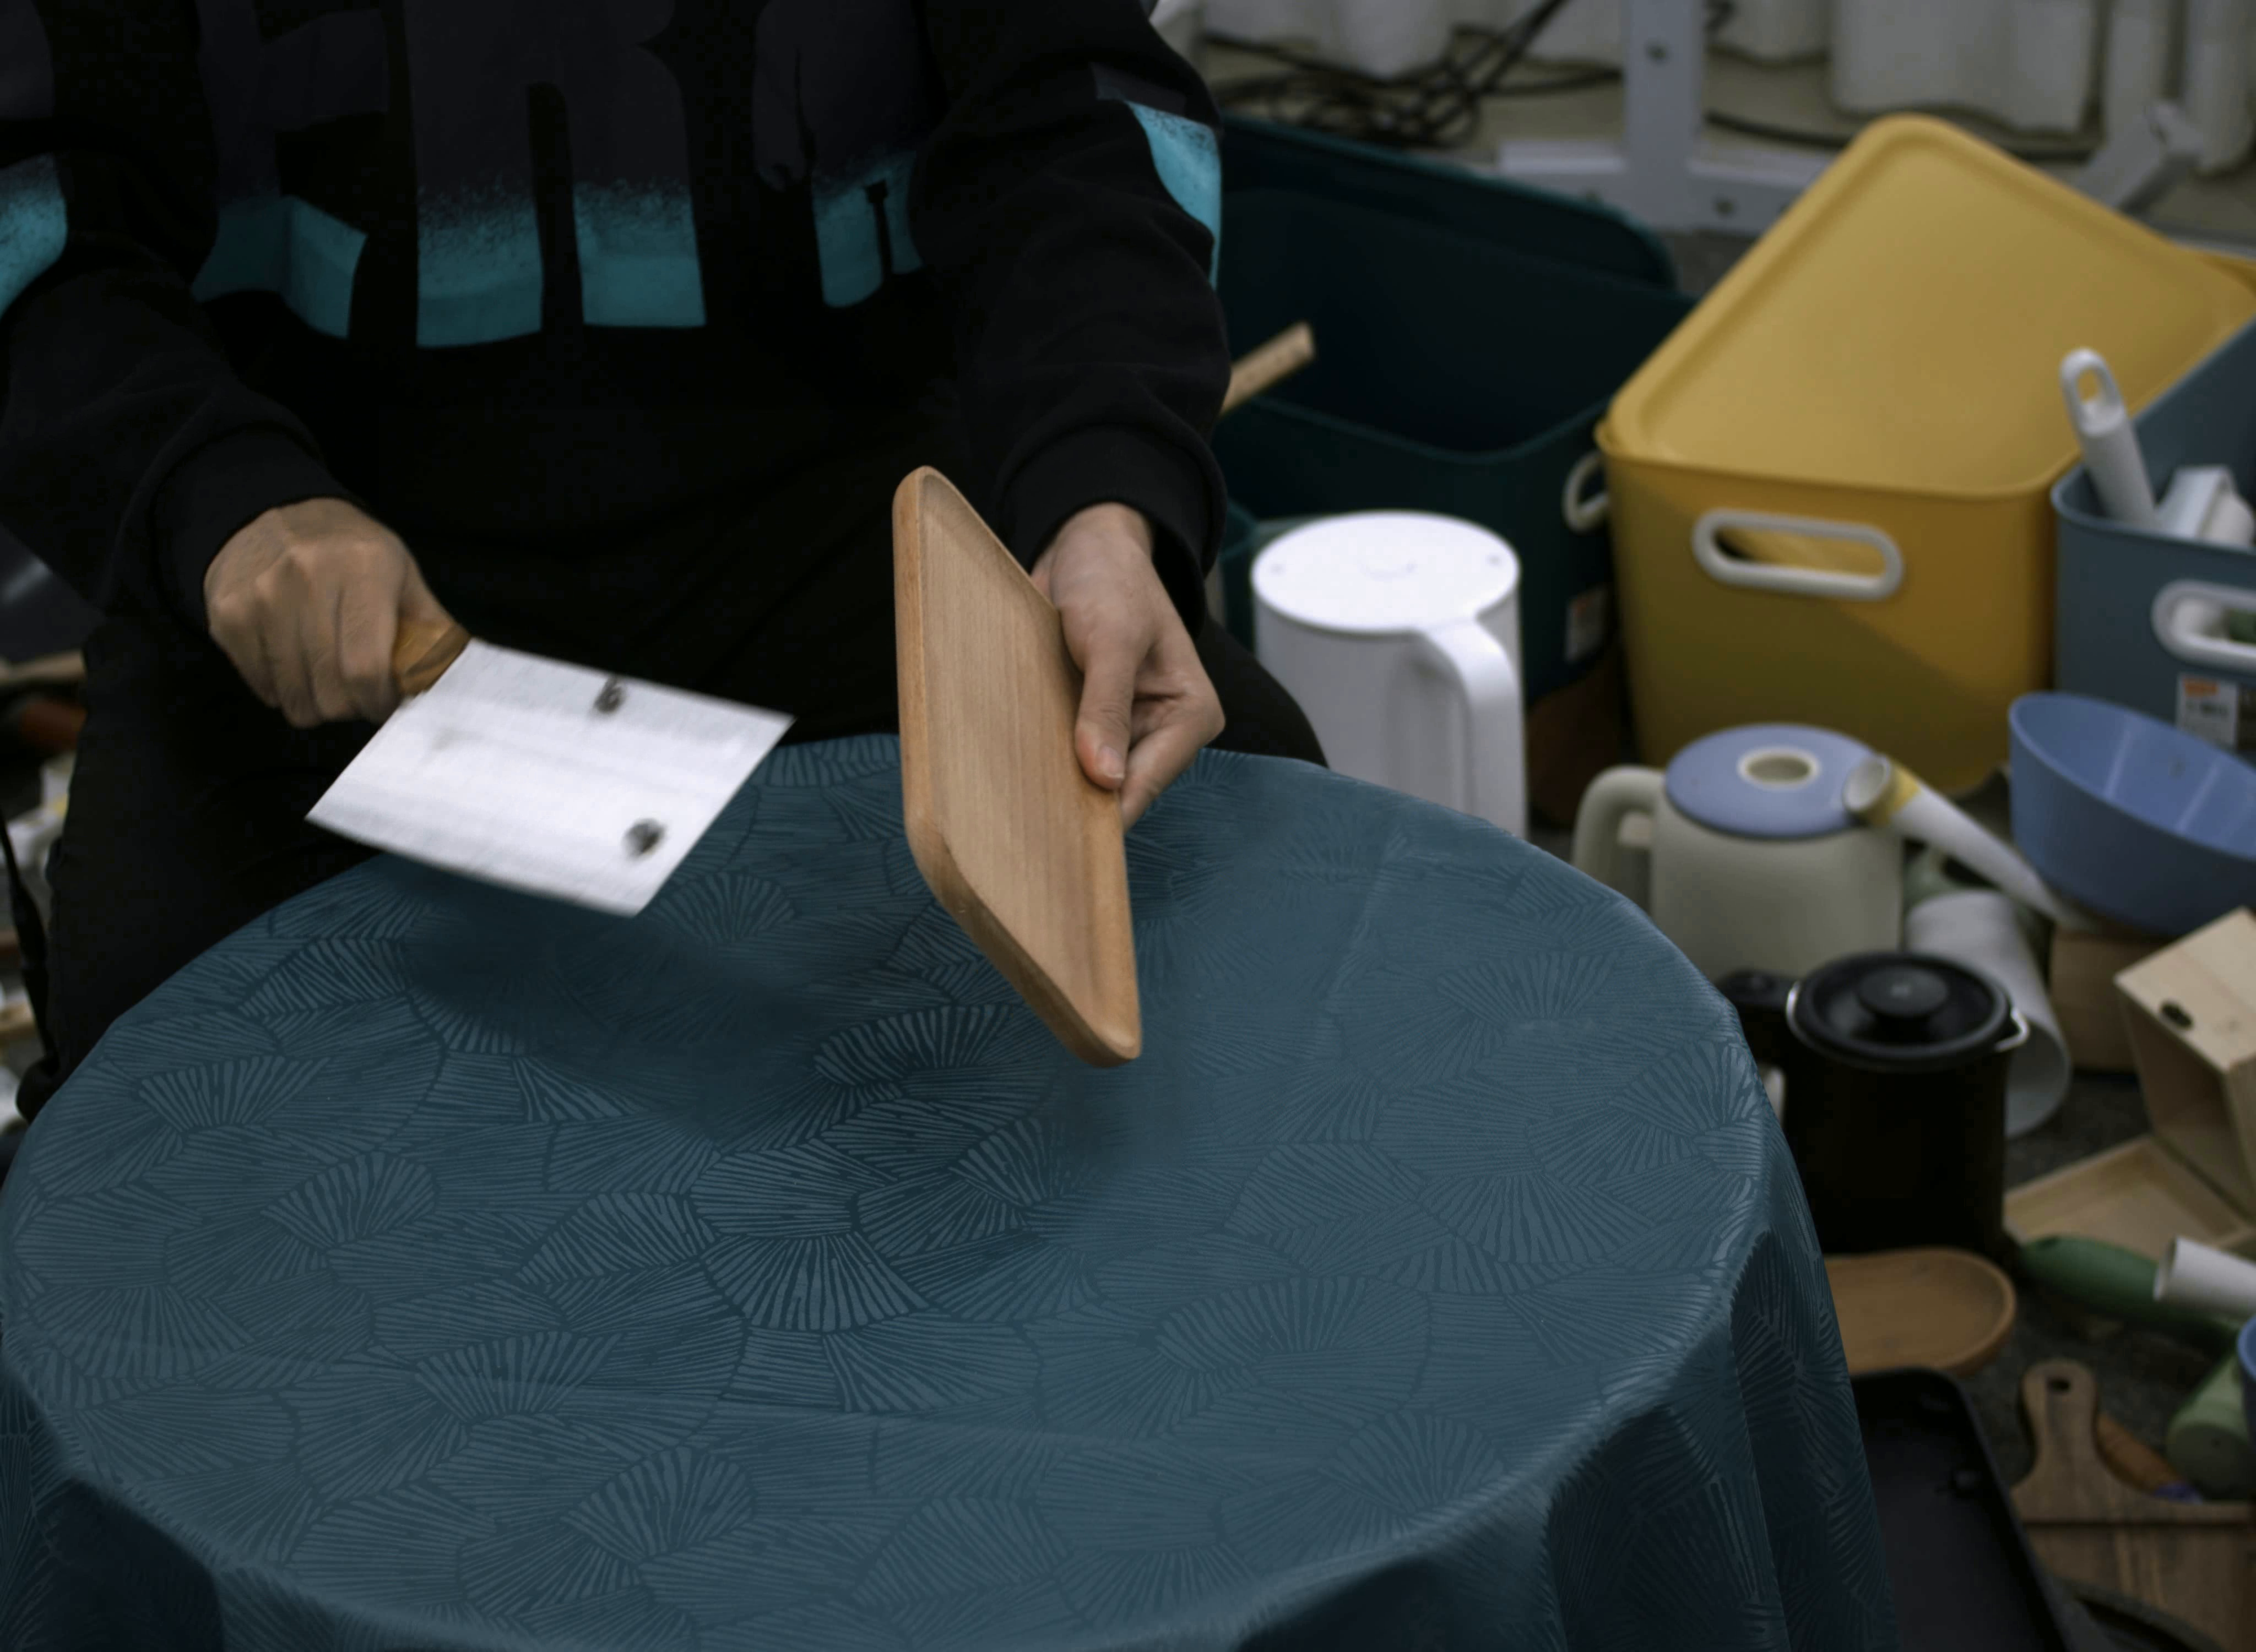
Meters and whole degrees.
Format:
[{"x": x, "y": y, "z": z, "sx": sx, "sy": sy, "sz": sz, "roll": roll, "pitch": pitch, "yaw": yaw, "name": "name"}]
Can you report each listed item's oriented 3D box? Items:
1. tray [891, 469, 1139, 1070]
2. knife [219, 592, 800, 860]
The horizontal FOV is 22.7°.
[{"x": -0.042, "y": -0.021, "z": 1.941, "sx": 0.022, "sy": 0.129, "sz": 0.255, "roll": -28, "pitch": 30, "yaw": 14, "name": "tray"}, {"x": -0.240, "y": -0.034, "z": 2.016, "sx": 0.304, "sy": 0.021, "sz": 0.094, "roll": 12, "pitch": 55, "yaw": 43, "name": "knife"}]
